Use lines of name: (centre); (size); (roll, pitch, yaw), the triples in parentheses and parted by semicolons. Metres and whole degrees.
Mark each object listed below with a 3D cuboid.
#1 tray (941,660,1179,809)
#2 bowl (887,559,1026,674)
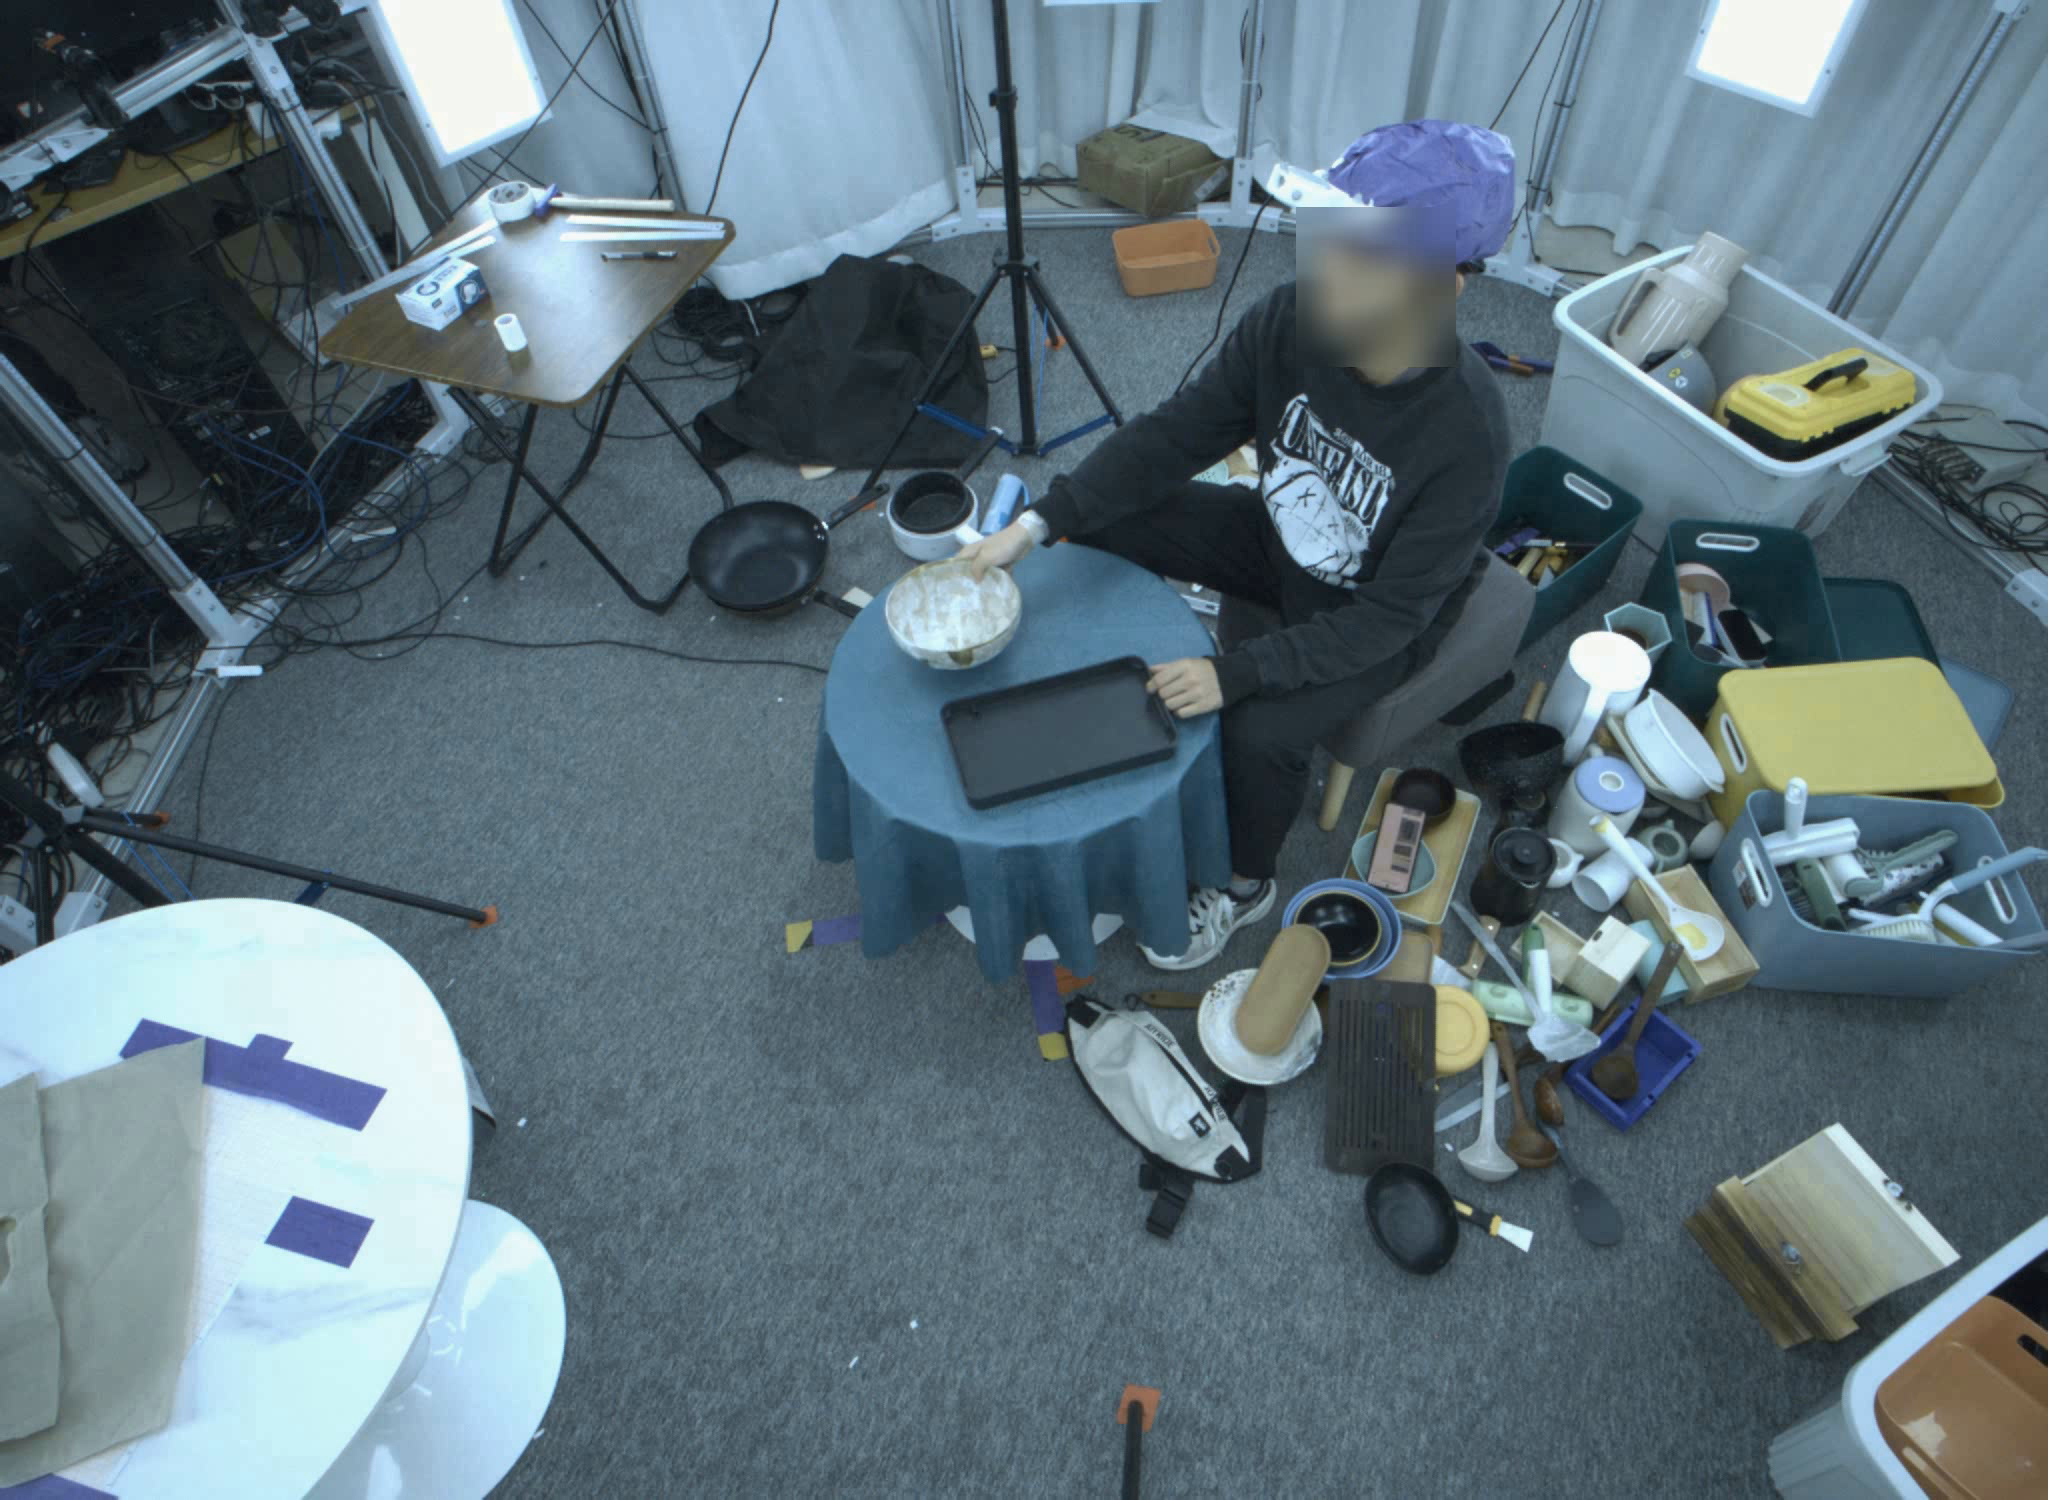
tray: (0.051, -0.025, 1.788); (0.320, 0.037, 0.181); (-13, 54, -9)
bowl: (-0.096, -0.186, 1.847); (0.214, 0.095, 0.212); (0, 51, 2)
